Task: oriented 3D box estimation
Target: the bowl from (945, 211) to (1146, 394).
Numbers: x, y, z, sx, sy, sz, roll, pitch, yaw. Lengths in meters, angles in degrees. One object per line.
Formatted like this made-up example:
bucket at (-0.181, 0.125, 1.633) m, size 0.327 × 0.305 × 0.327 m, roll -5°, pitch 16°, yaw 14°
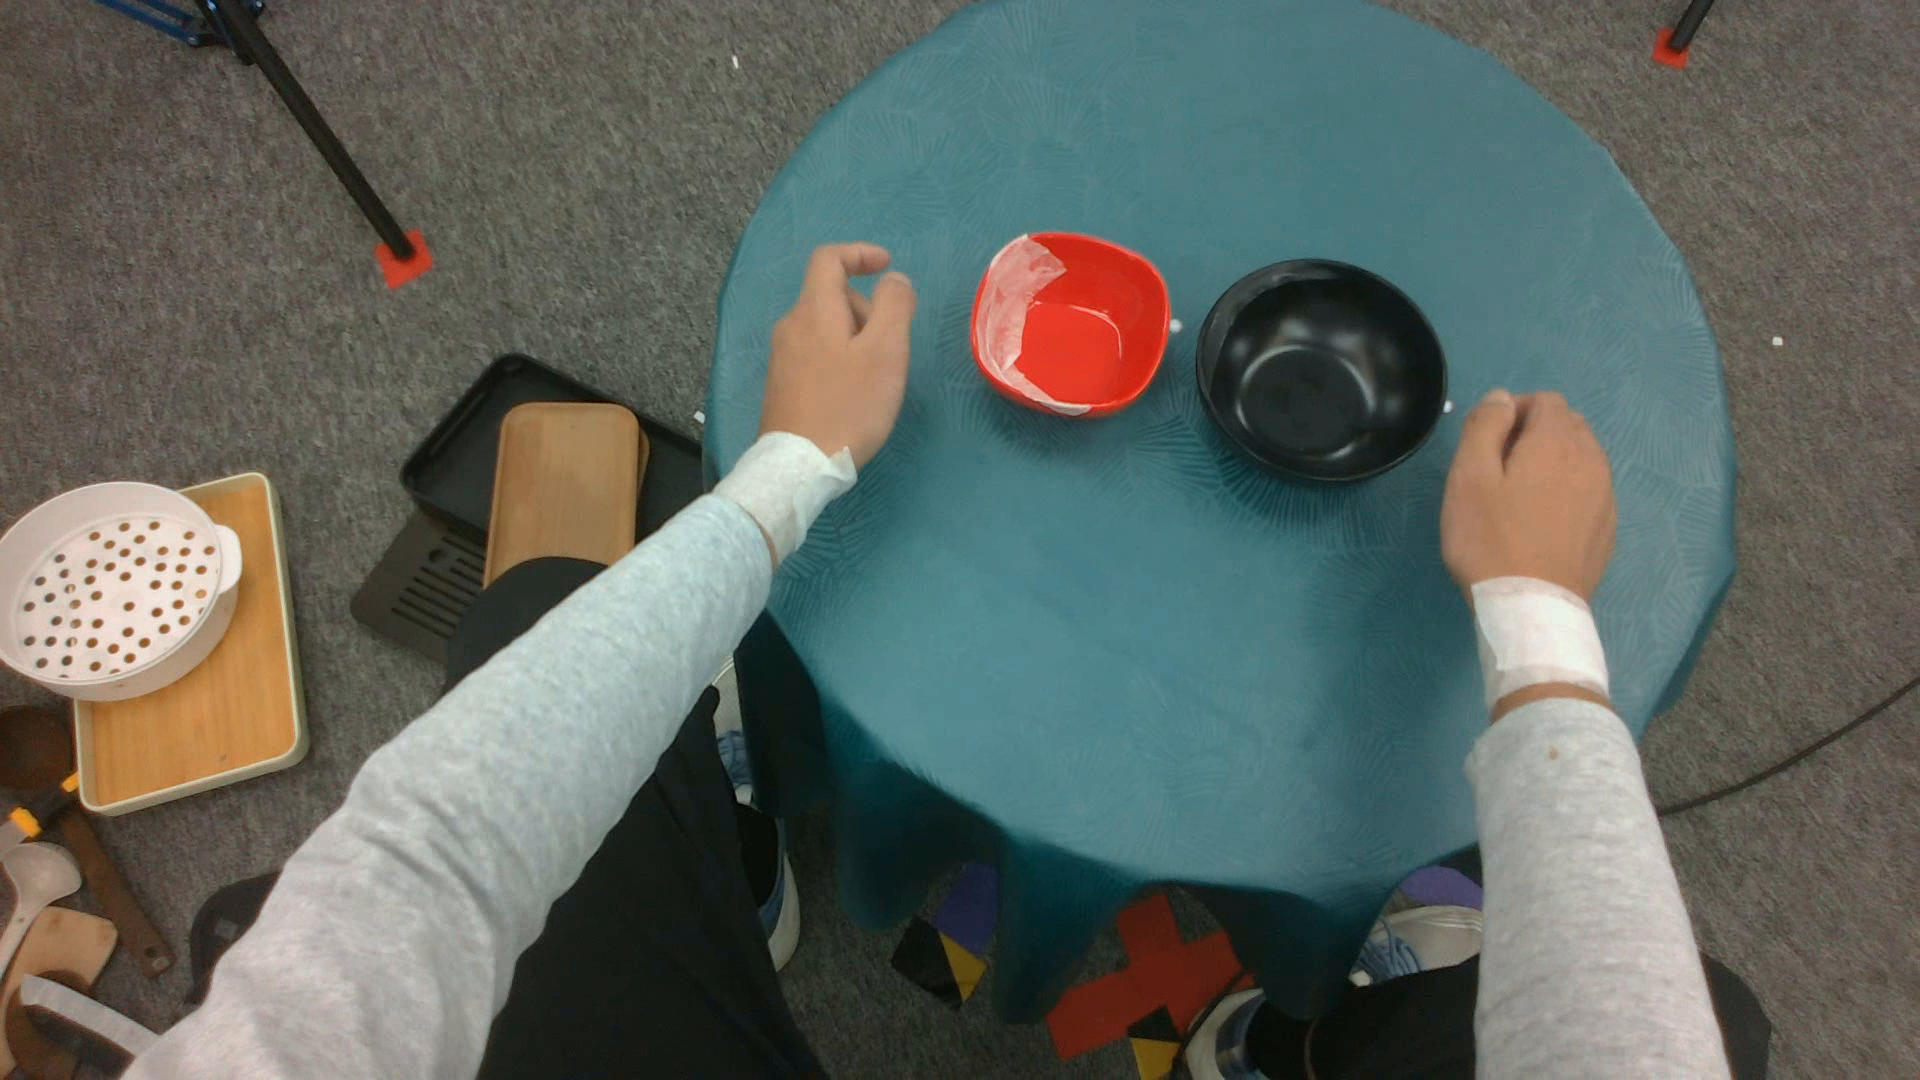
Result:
bowl at (0.046, -0.127, 0.787) m, size 0.119 × 0.051 × 0.119 m, roll 2°, pitch 66°, yaw -4°

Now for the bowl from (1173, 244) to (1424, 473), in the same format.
bowl at (0.188, -0.097, 0.787) m, size 0.140 × 0.049 × 0.140 m, roll 0°, pitch 71°, yaw 0°
